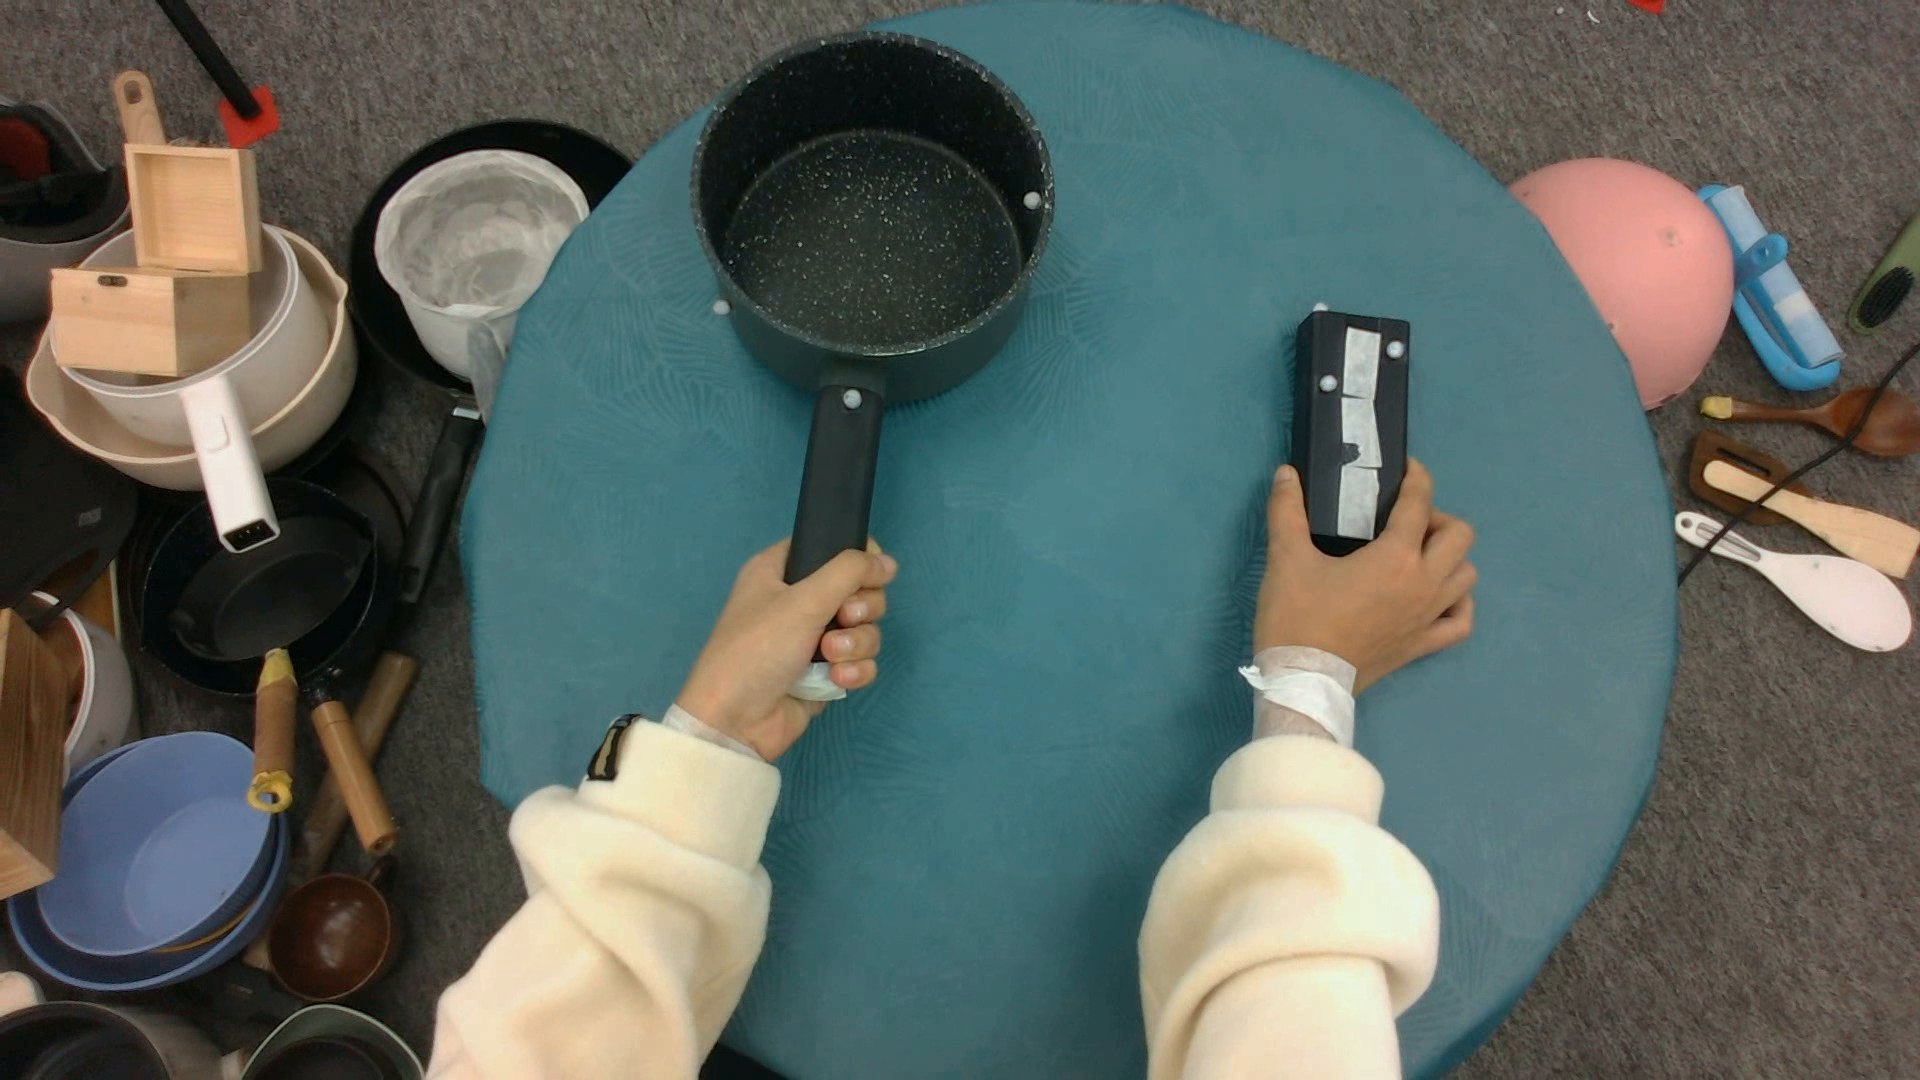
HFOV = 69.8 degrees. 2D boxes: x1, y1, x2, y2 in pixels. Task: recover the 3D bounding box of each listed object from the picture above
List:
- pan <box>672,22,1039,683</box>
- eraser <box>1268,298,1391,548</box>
[{"bbox_3d":[-0.060,-0.087,0.654,0.172,0.086,0.330,8,71,-1],"label":"pan"},{"bbox_3d":[0.186,-0.060,0.694,0.053,0.030,0.126,8,74,-1],"label":"eraser"}]
